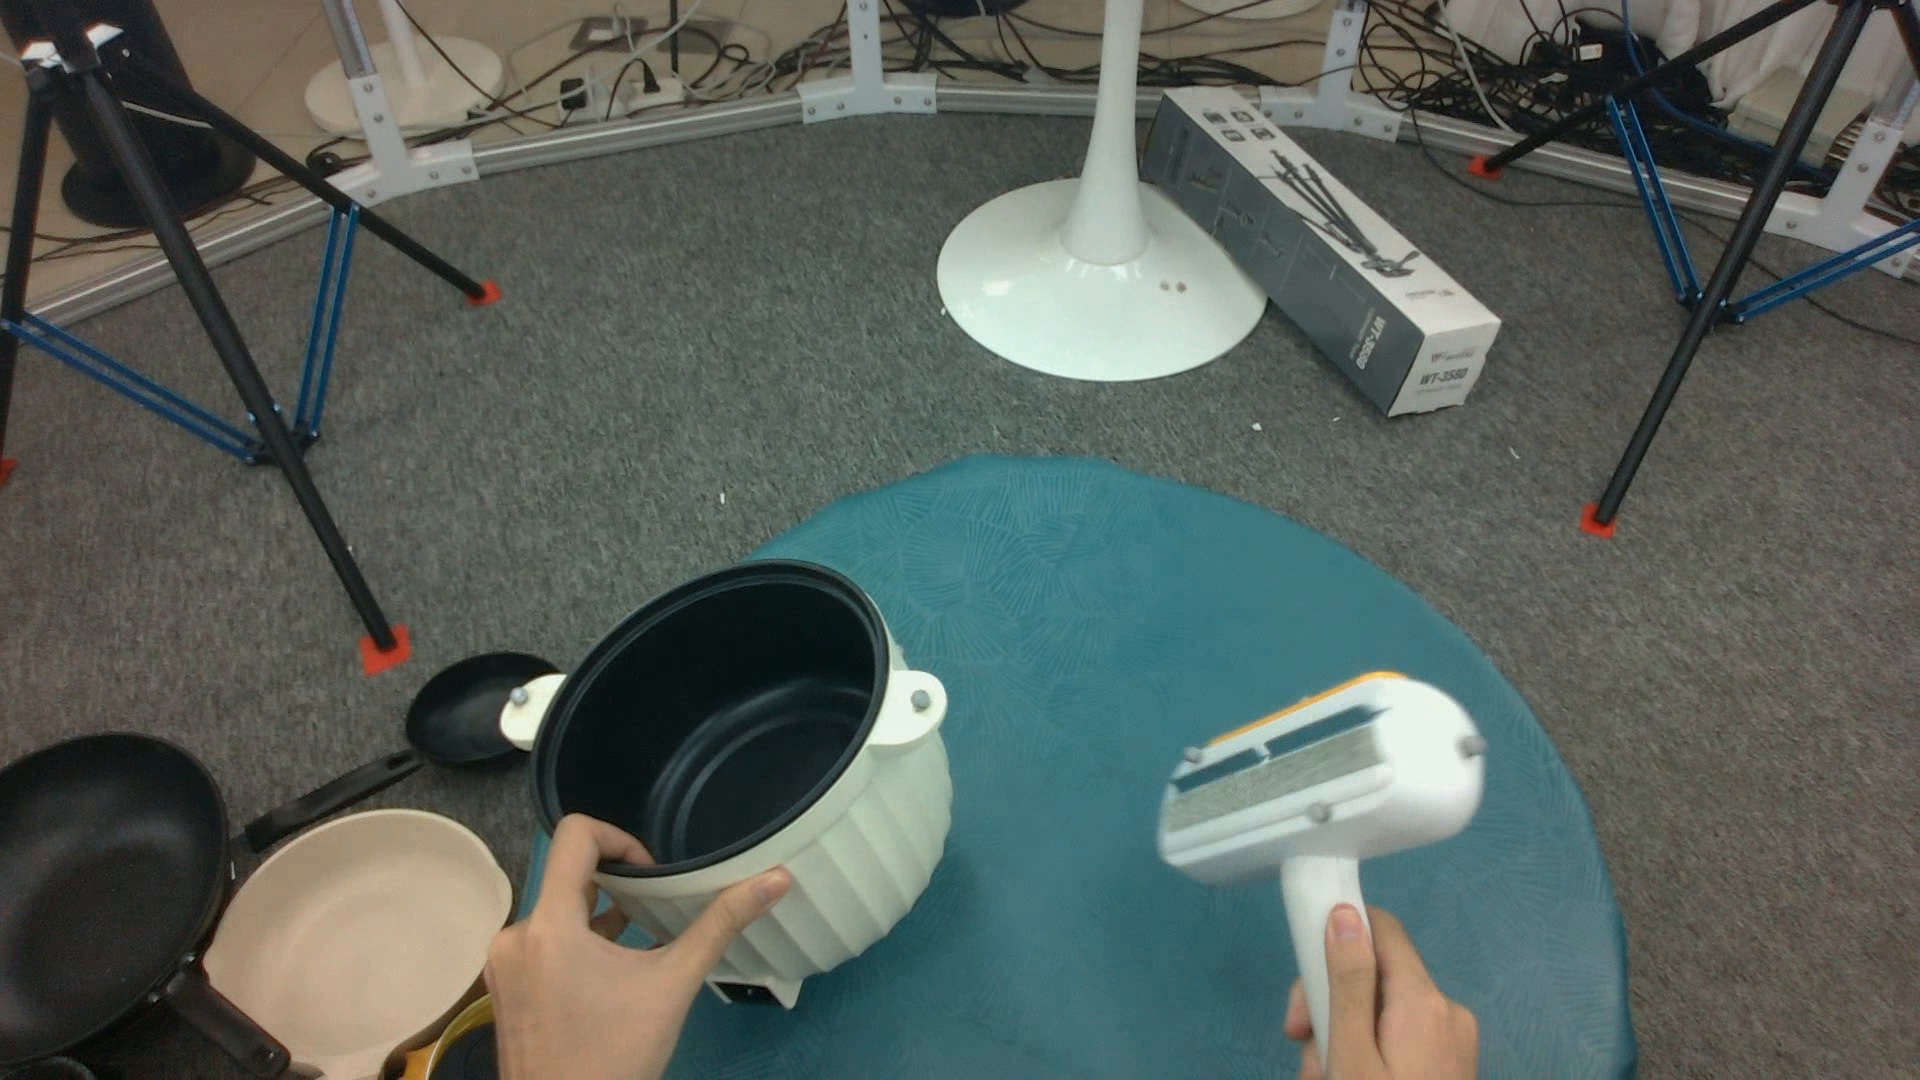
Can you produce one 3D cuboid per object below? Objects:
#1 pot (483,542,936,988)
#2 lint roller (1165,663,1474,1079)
[{"bbox_3d":[-0.106,0.108,0.690,0.240,0.142,0.191,-2,49,21],"label":"pot"},{"bbox_3d":[0.160,0.164,0.616,0.074,0.192,0.193,12,69,-22],"label":"lint roller"}]
